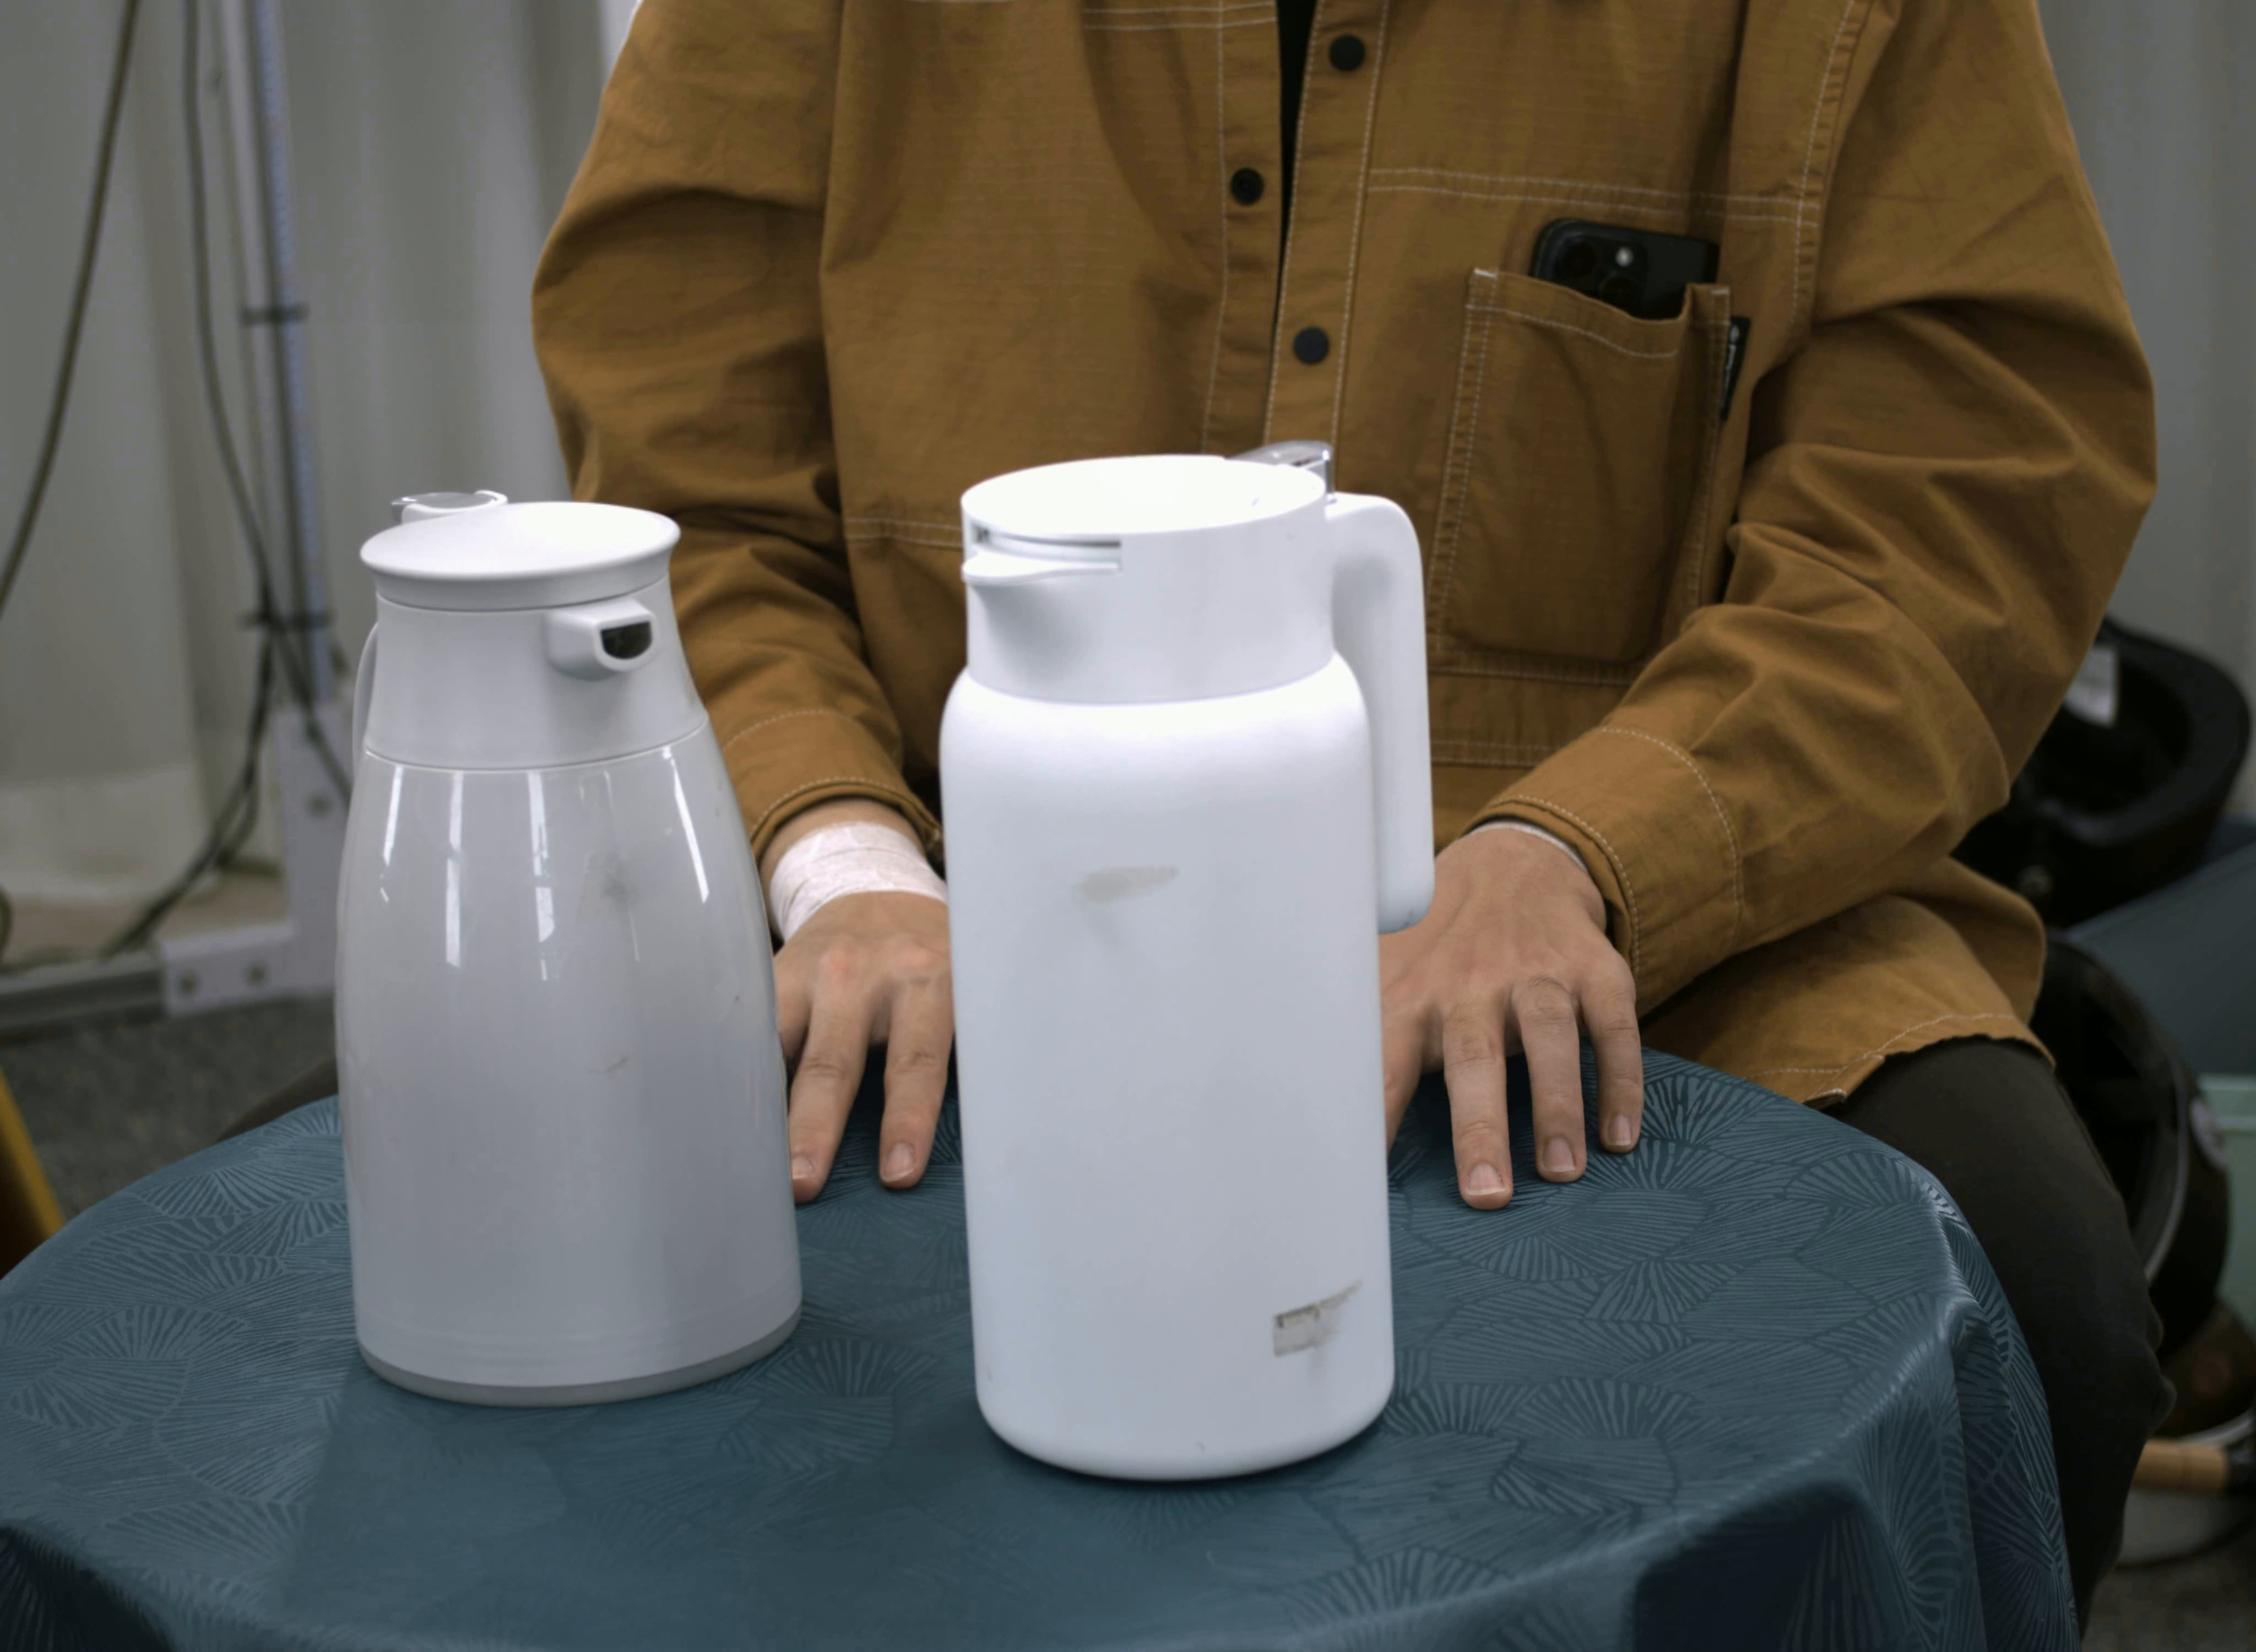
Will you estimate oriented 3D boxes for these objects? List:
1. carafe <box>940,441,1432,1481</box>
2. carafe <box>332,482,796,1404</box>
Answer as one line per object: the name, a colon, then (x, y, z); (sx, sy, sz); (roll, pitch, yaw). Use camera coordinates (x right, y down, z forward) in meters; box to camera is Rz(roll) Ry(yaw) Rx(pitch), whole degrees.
carafe: (0.020, 0.032, 1.505); (0.124, 0.268, 0.172); (6, 16, 40)
carafe: (-0.179, 0.026, 1.603); (0.132, 0.248, 0.169); (-11, 15, -32)
